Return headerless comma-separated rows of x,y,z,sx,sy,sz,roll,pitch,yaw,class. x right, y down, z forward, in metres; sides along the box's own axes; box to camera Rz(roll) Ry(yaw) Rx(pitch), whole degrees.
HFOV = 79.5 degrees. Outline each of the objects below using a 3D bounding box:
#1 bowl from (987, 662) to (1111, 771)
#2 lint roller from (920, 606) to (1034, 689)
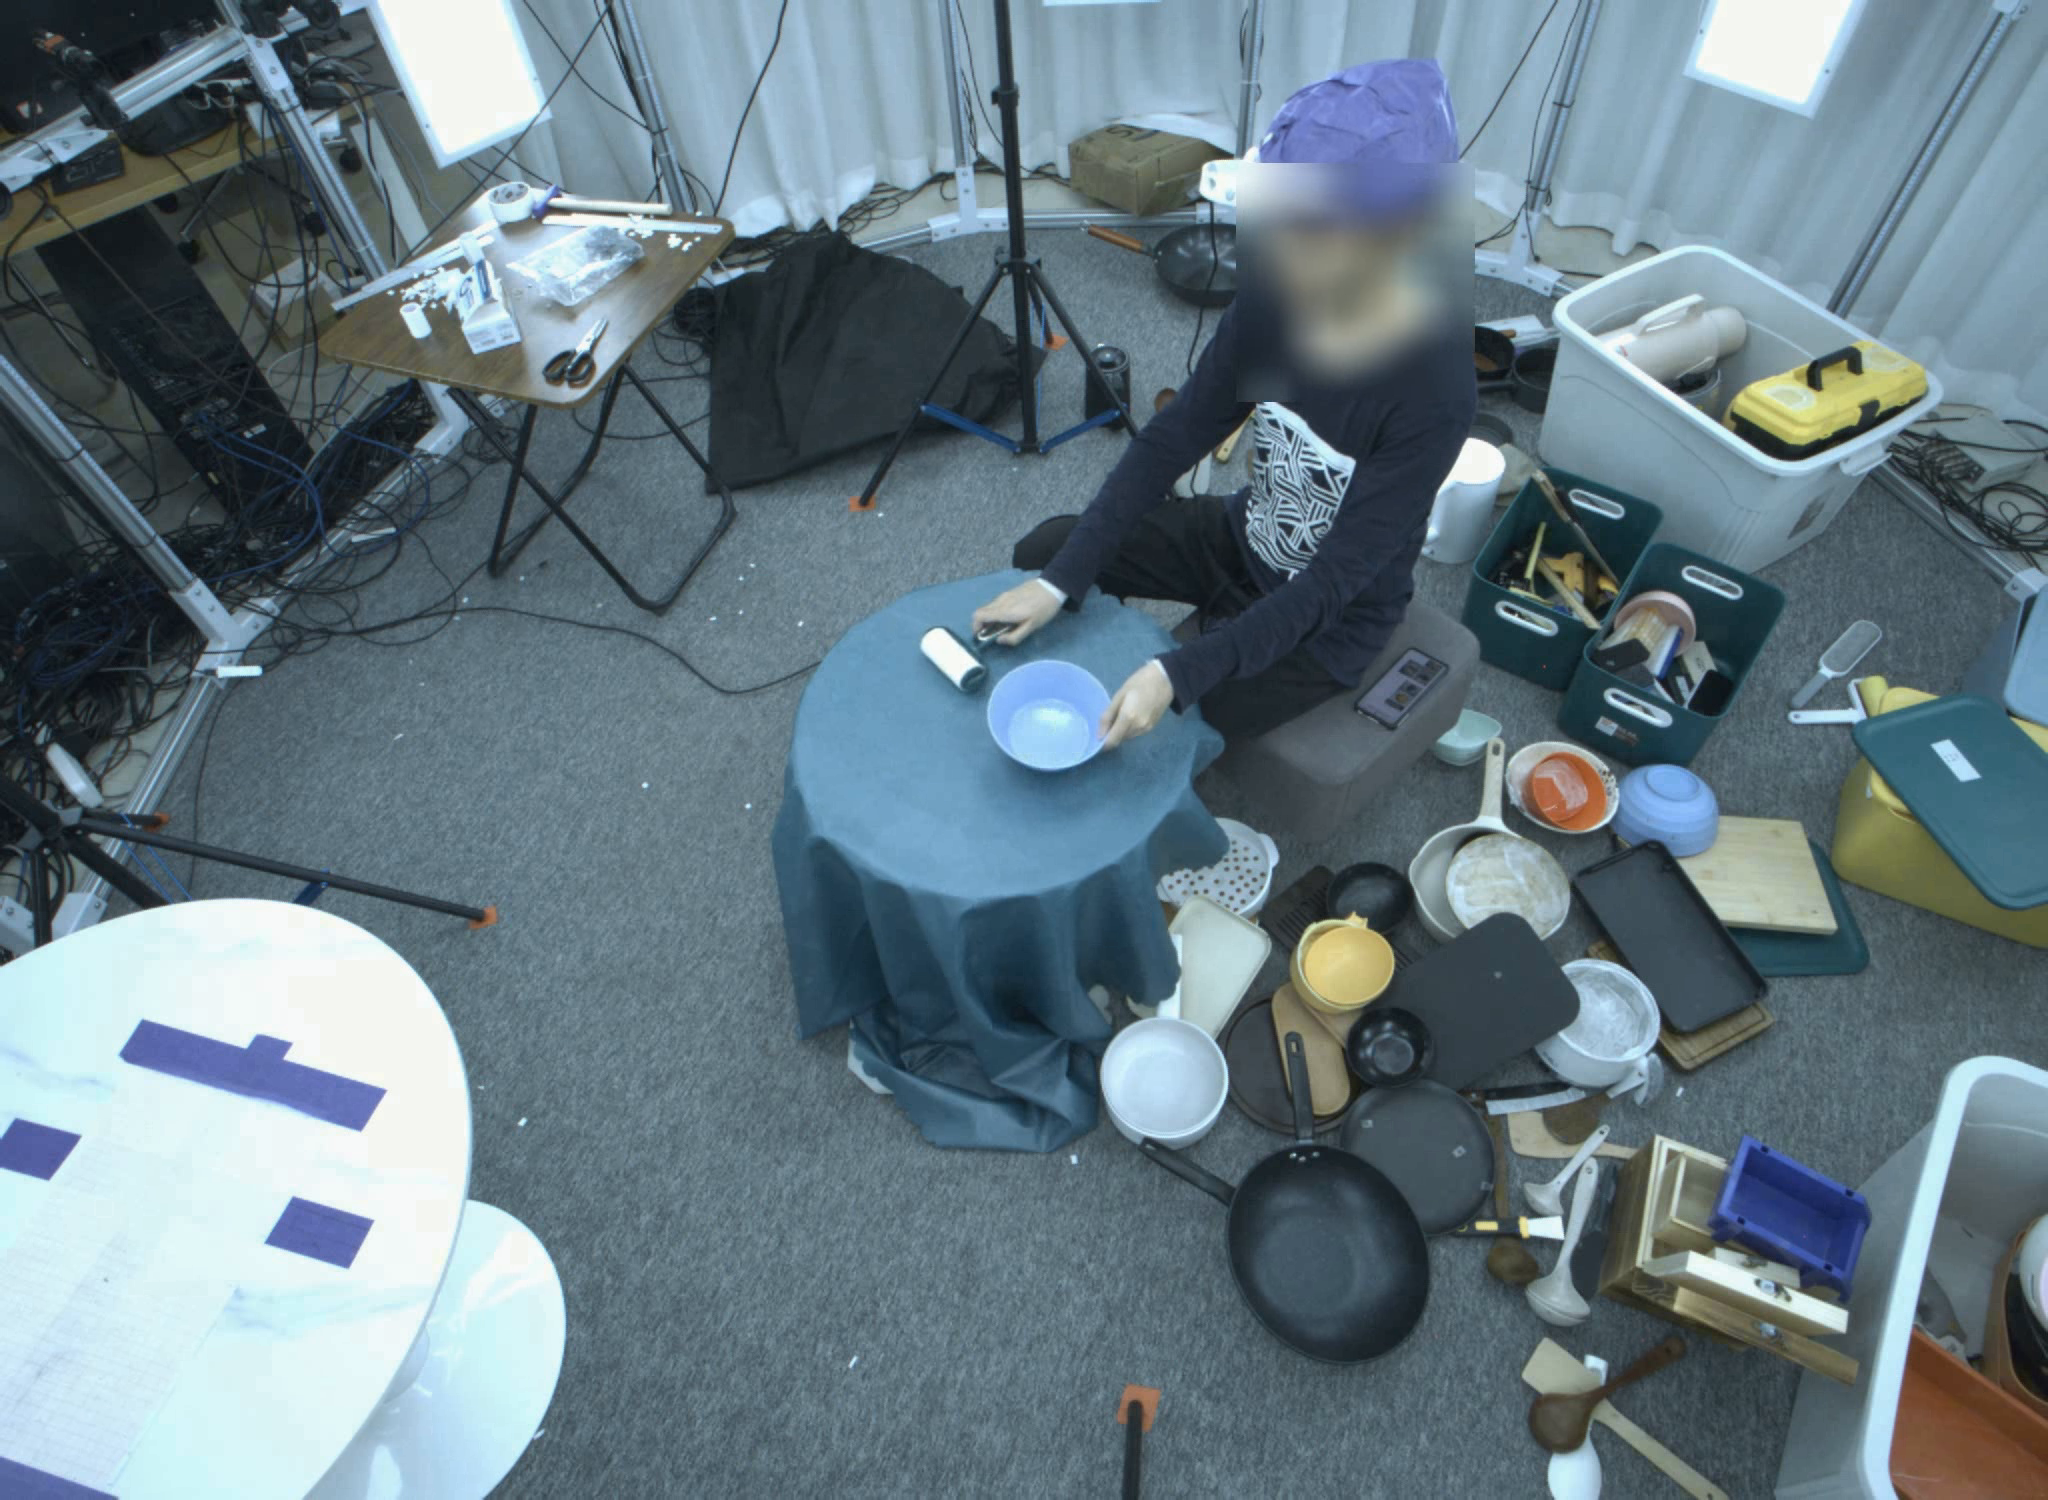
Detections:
0.035,-0.036,1.758,0.176,0.071,0.174,2,61,-2,bowl
-0.060,-0.179,1.884,0.181,0.049,0.132,-38,61,-14,lint roller
